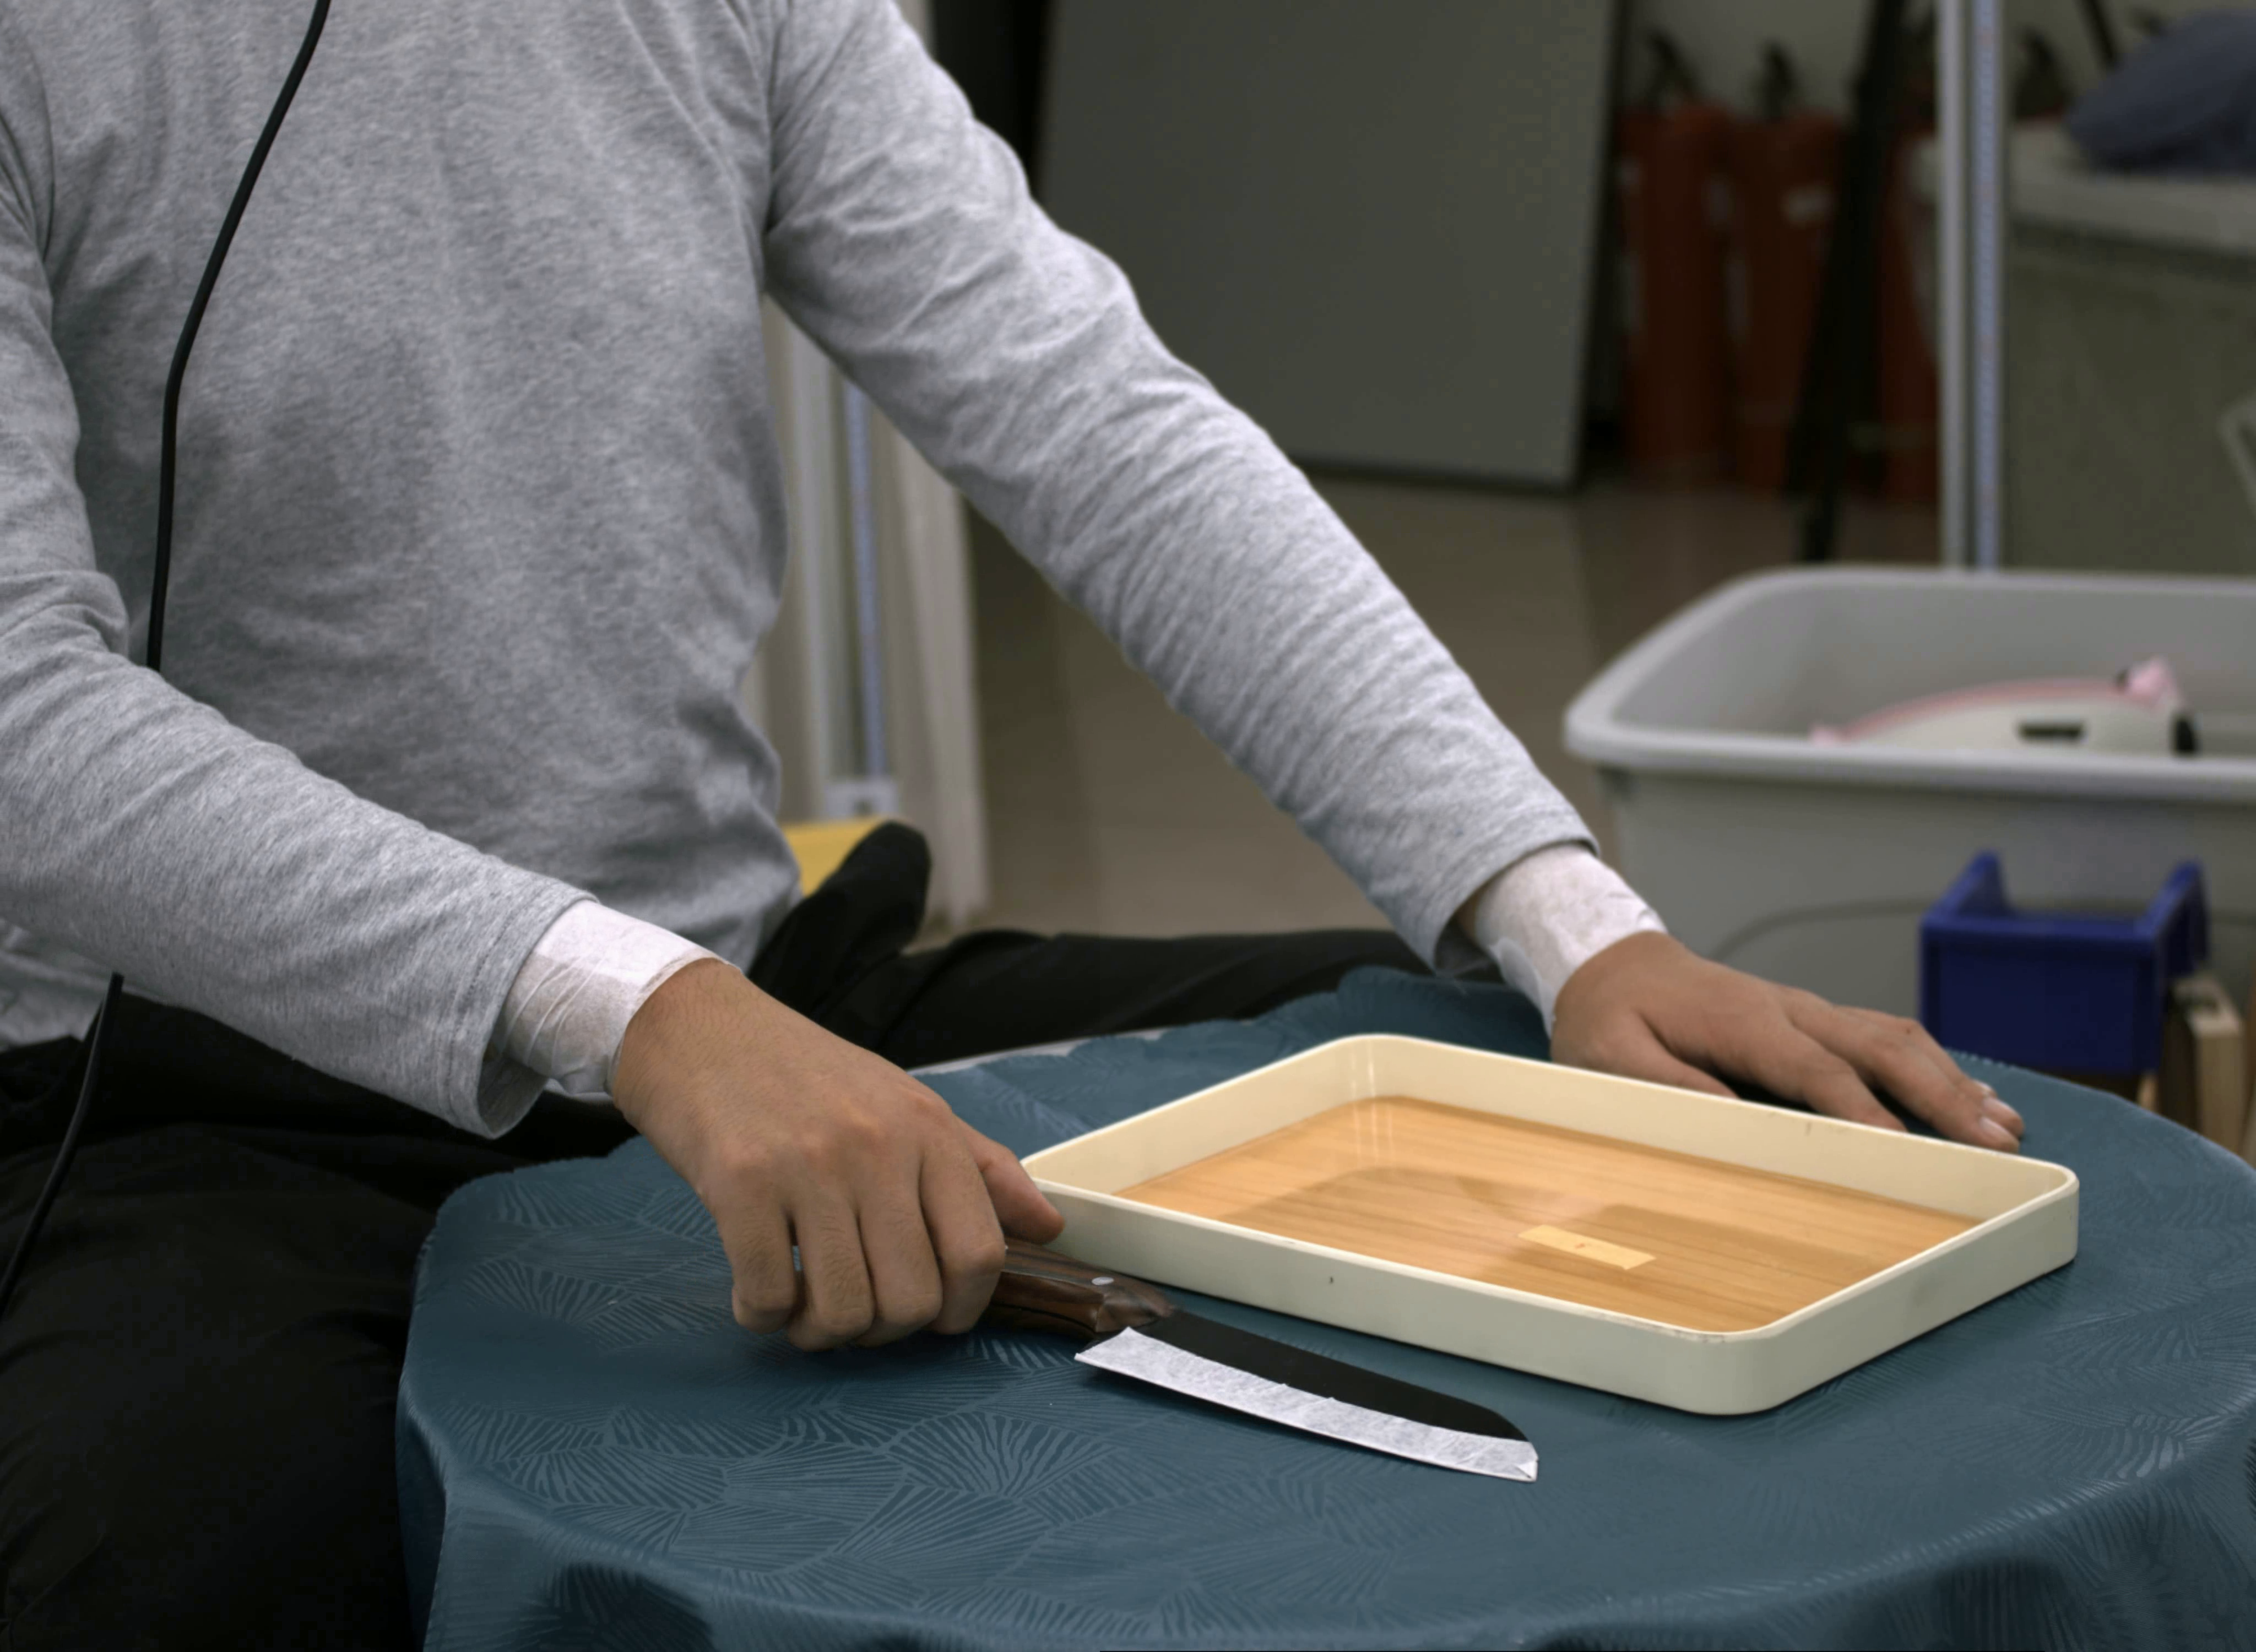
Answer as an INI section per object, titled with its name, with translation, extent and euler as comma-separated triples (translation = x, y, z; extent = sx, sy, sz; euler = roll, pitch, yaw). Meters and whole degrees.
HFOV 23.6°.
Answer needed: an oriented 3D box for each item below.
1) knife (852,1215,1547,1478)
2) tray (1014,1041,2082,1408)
[knife]
translation = 0.017, 0.156, 1.598
extent = 0.049, 0.020, 0.292
euler = -22, 24, -39
[tray]
translation = 0.128, 0.121, 1.684
extent = 0.303, 0.028, 0.188
euler = 9, 18, 43
